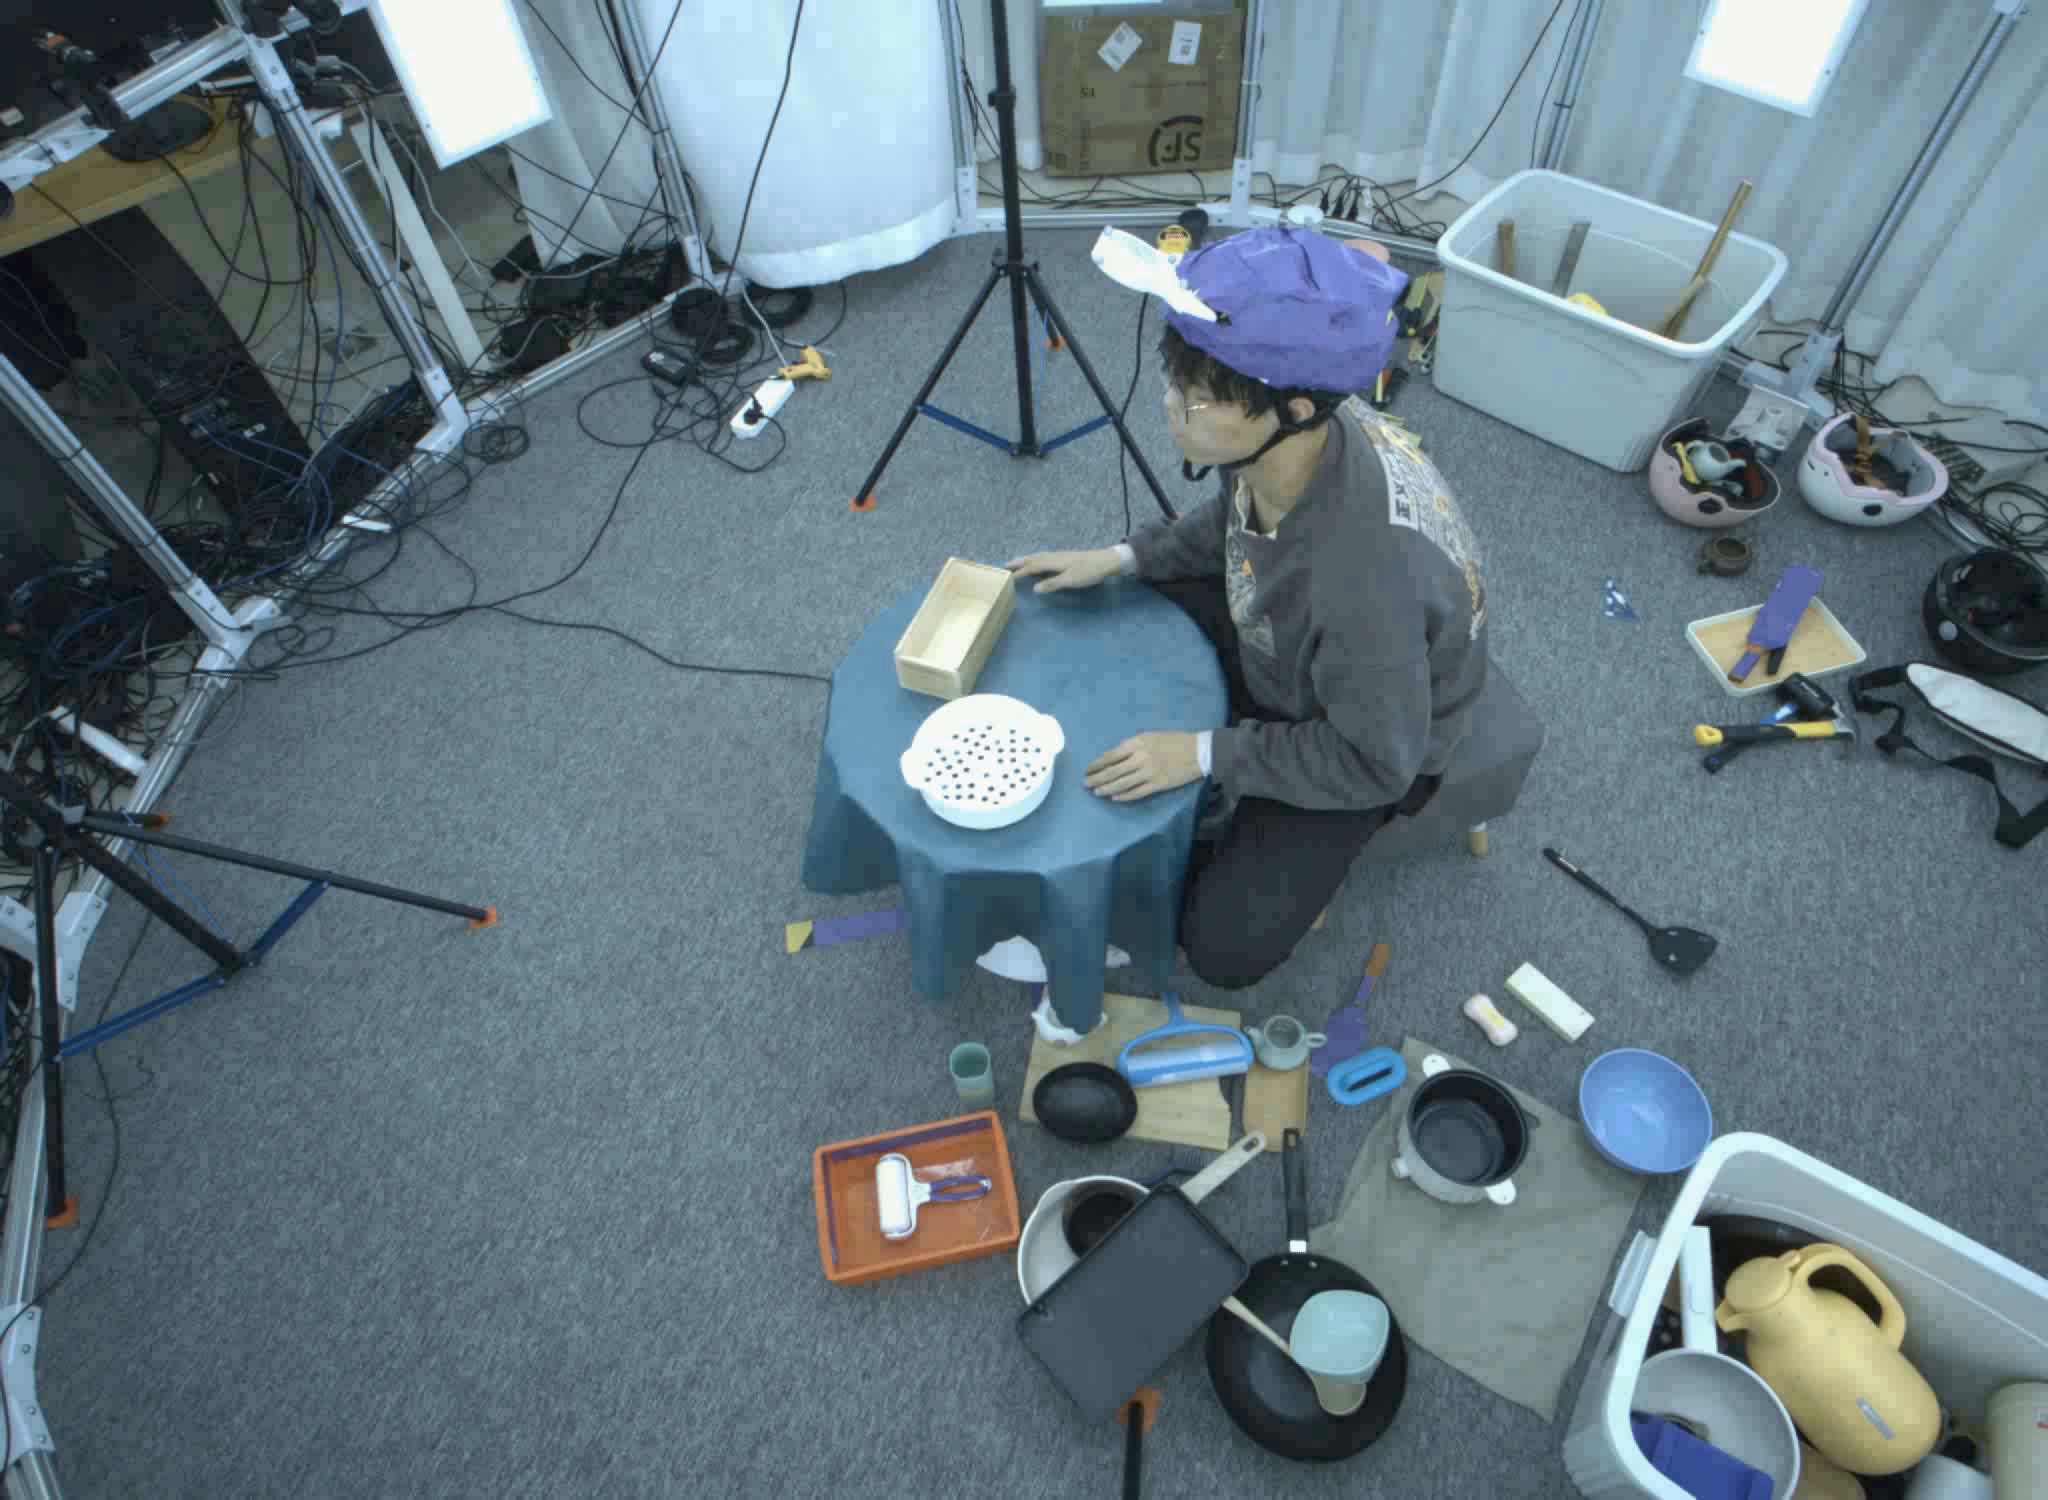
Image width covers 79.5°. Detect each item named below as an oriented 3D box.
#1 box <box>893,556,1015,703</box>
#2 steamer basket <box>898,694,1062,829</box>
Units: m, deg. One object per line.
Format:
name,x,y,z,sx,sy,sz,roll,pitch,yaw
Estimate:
box,-0.103,-0.186,1.873,0.106,0.081,0.211,17,57,13
steamer basket,-0.060,0.018,1.732,0.232,0.070,0.198,-13,56,-9
